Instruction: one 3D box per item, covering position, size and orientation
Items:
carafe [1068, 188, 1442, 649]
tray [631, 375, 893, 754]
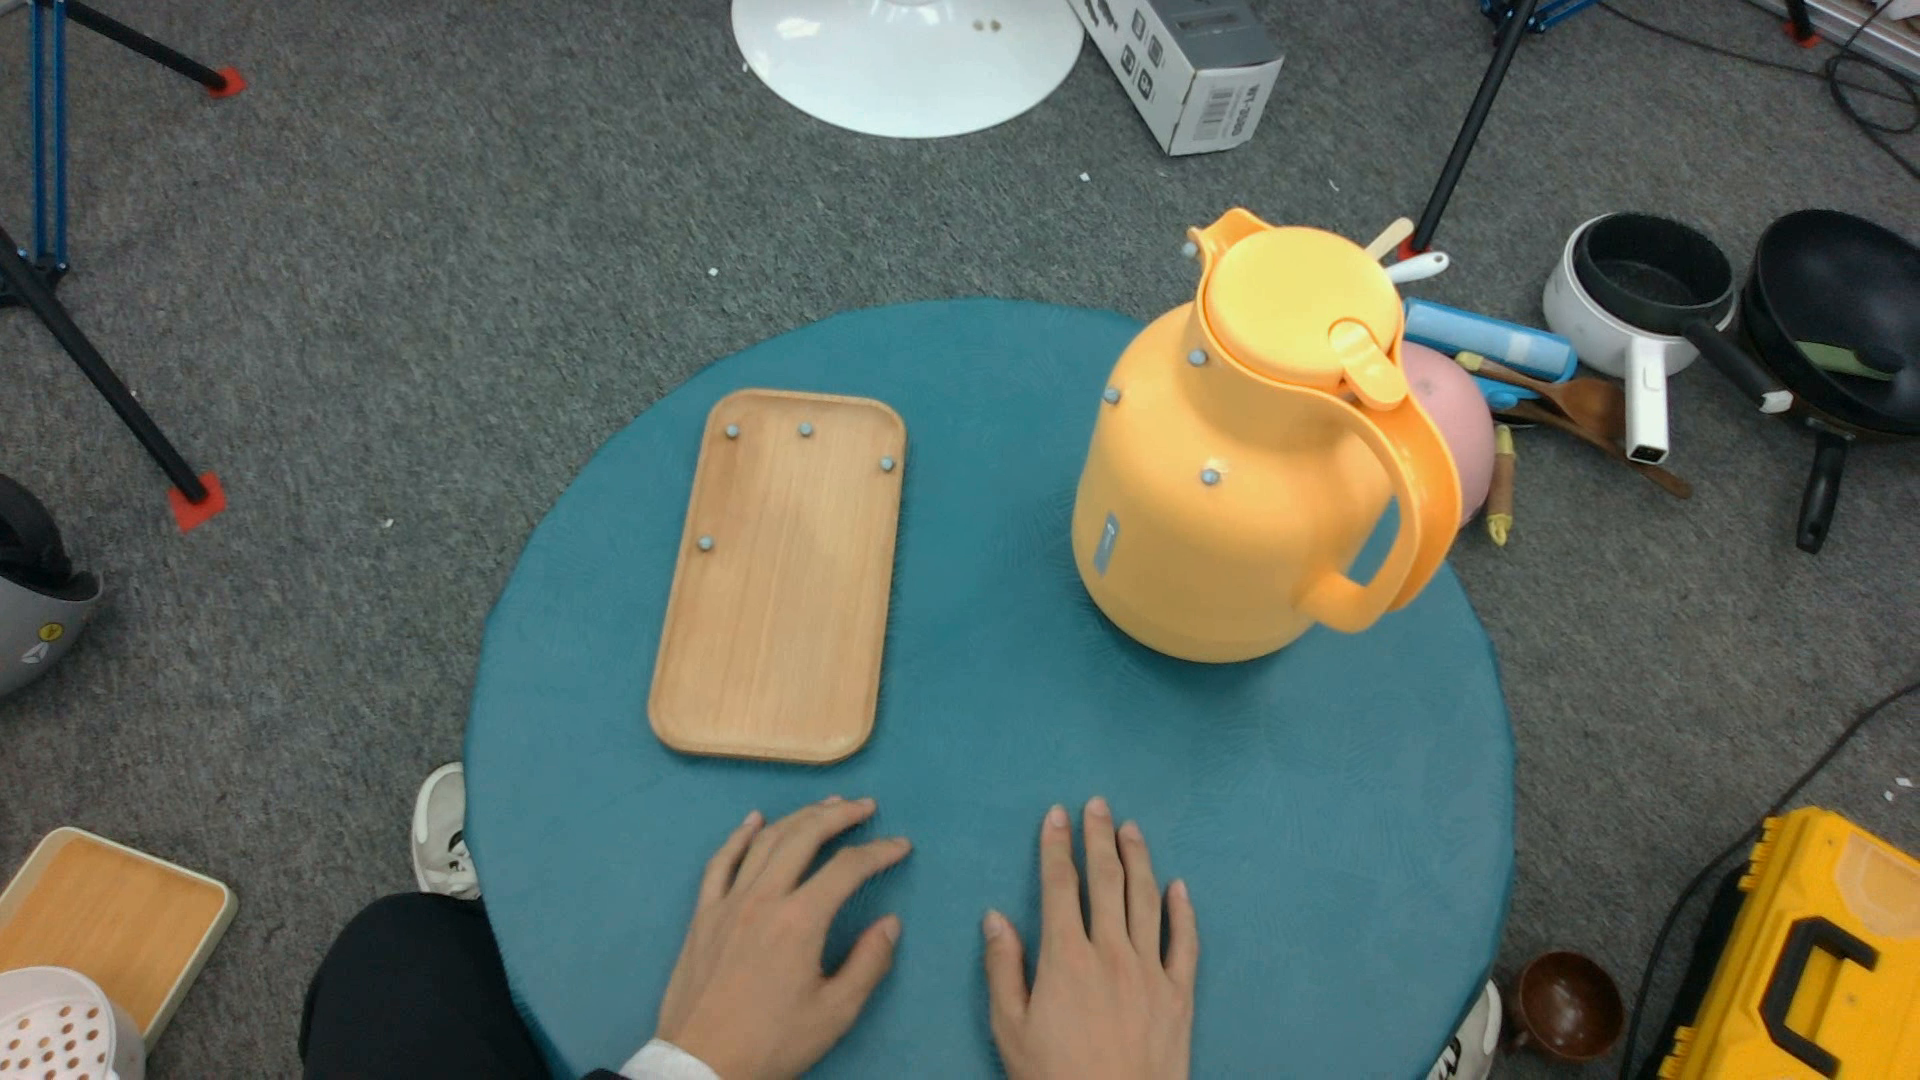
[{"bbox_3d":[0.156,-0.045,0.731,0.164,0.259,0.203,-26,63,-15],"label":"carafe"},{"bbox_3d":[-0.113,0.008,0.822,0.130,0.023,0.252,4,60,1],"label":"tray"}]
